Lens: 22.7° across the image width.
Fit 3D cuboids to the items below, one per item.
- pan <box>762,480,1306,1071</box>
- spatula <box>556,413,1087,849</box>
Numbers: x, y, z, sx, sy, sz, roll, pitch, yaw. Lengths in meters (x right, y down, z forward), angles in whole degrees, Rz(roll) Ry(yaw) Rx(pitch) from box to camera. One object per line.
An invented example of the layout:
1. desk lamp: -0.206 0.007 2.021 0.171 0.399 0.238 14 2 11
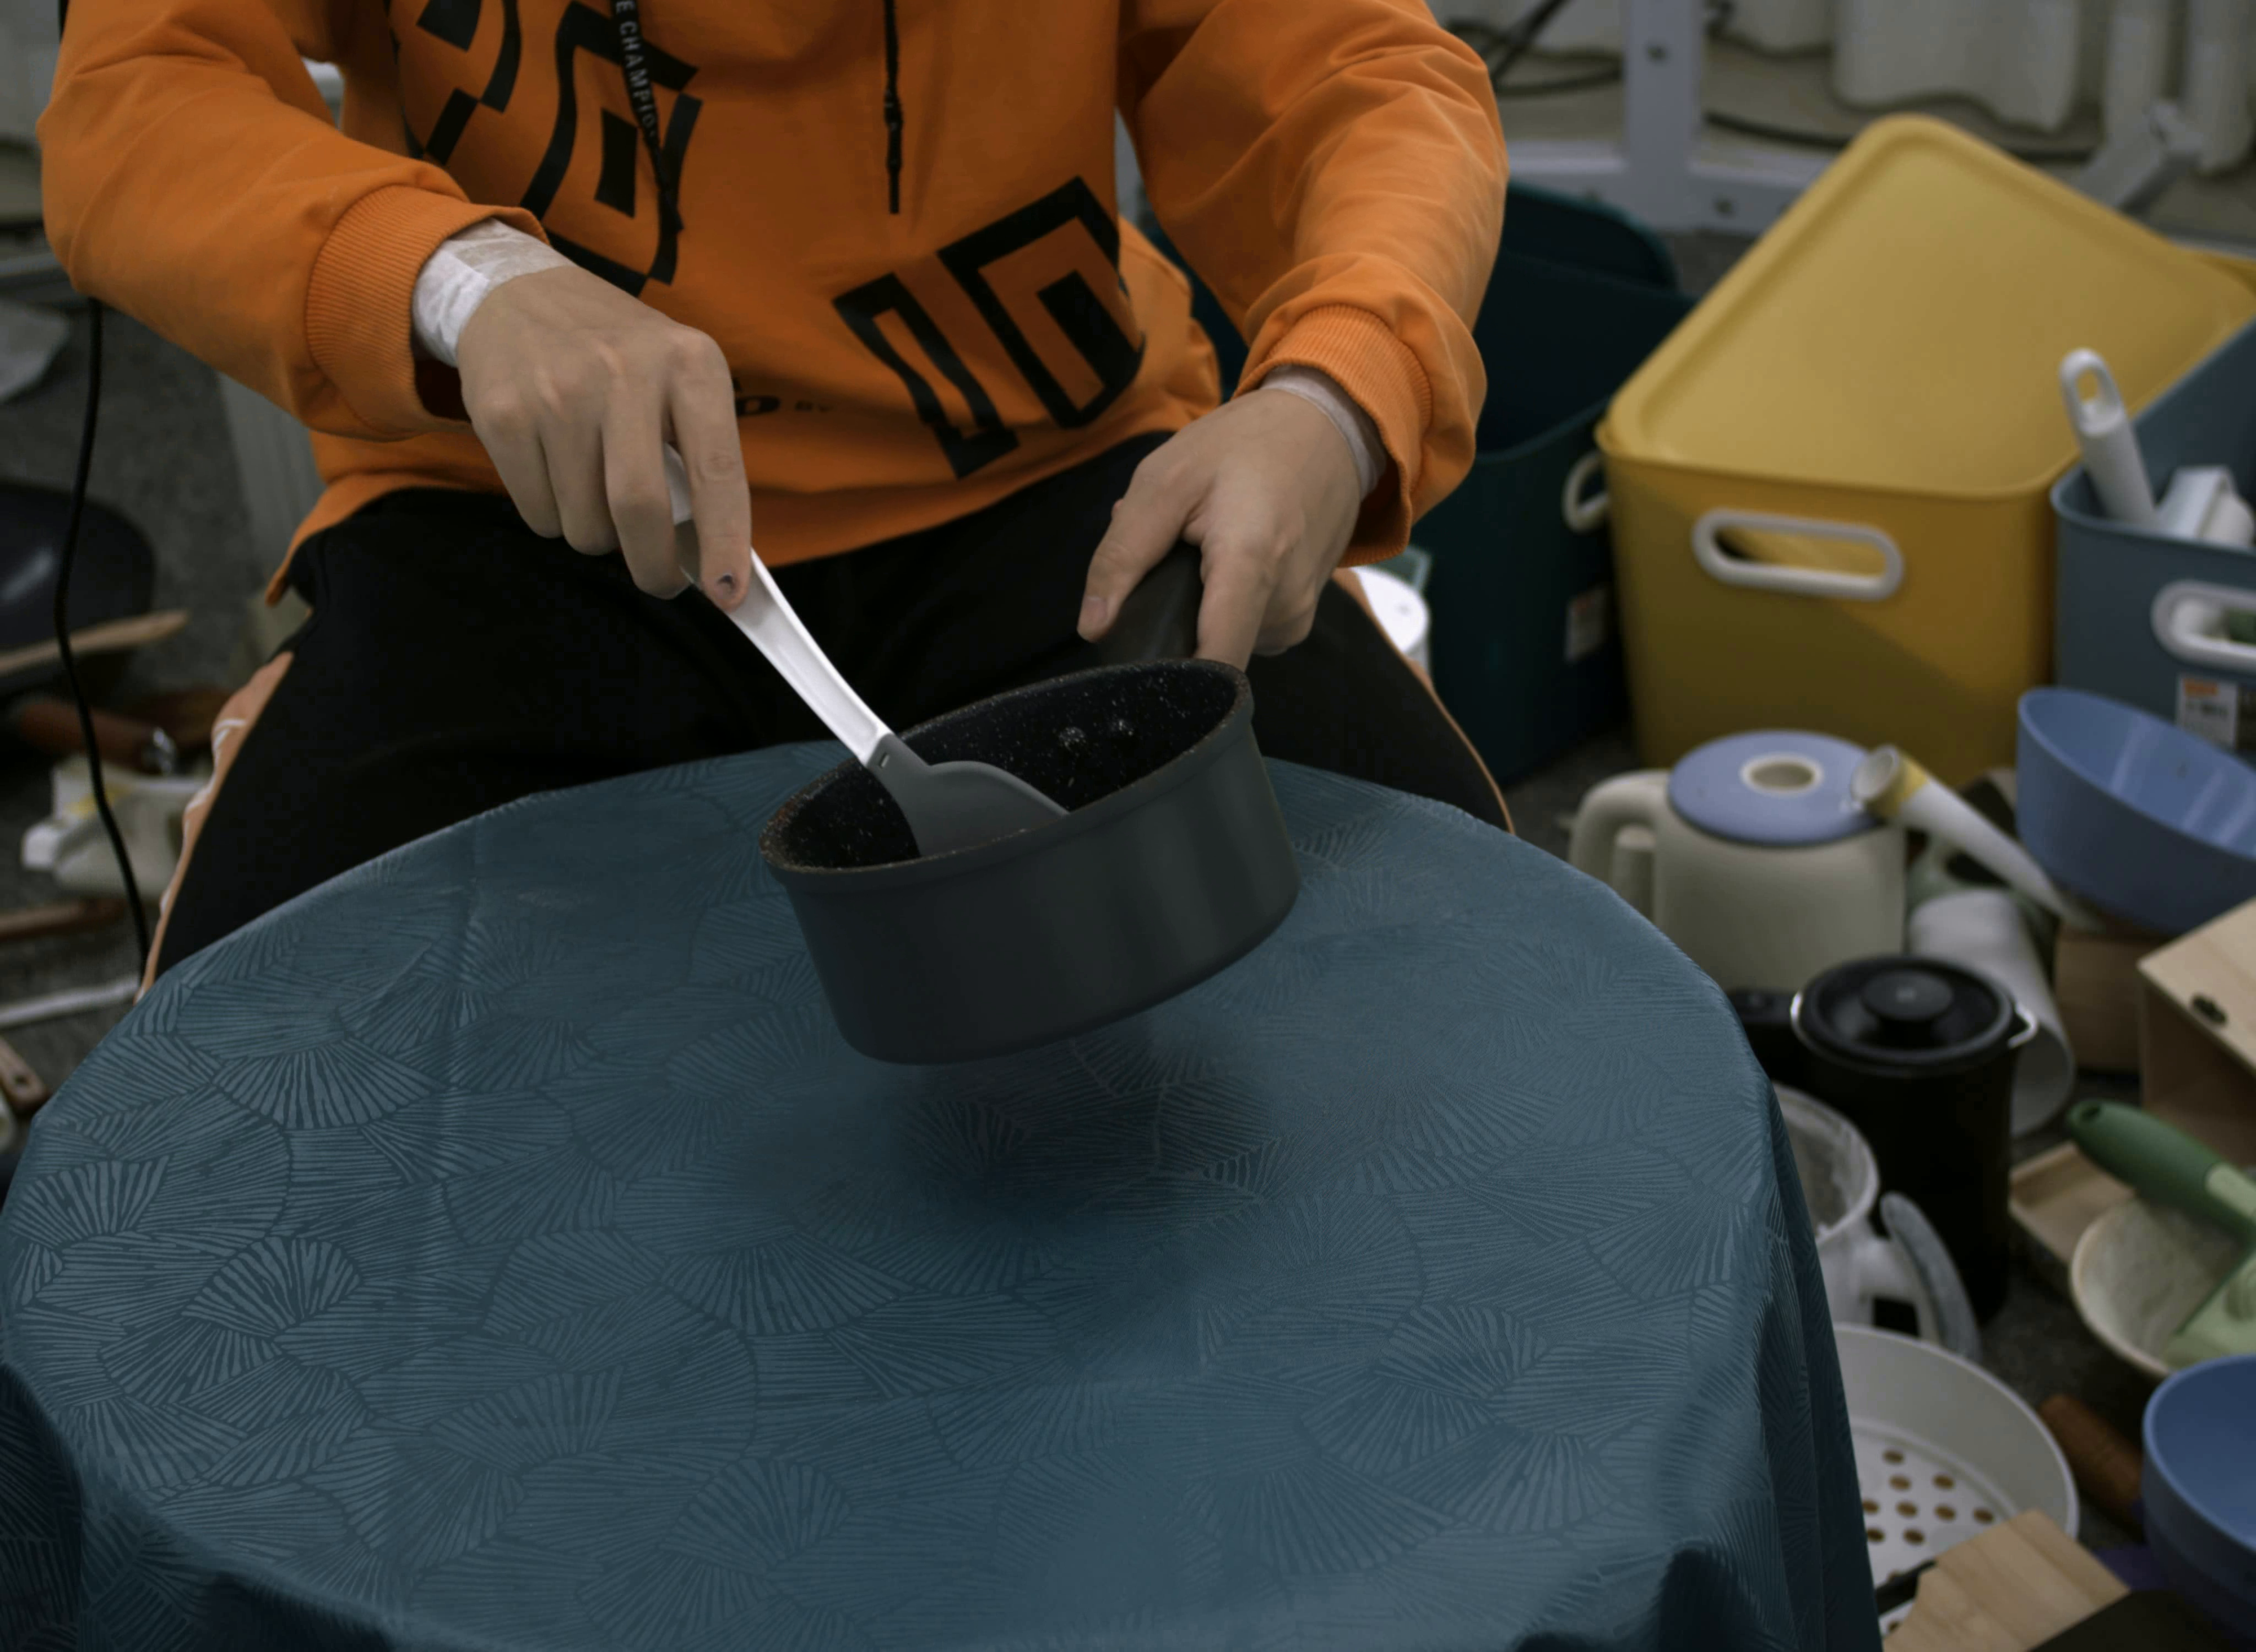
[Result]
1. pan: -0.003 -0.021 1.931 0.170 0.086 0.334 -10 20 25
2. spatula: -0.095 -0.049 1.894 0.289 0.058 0.032 41 22 31
